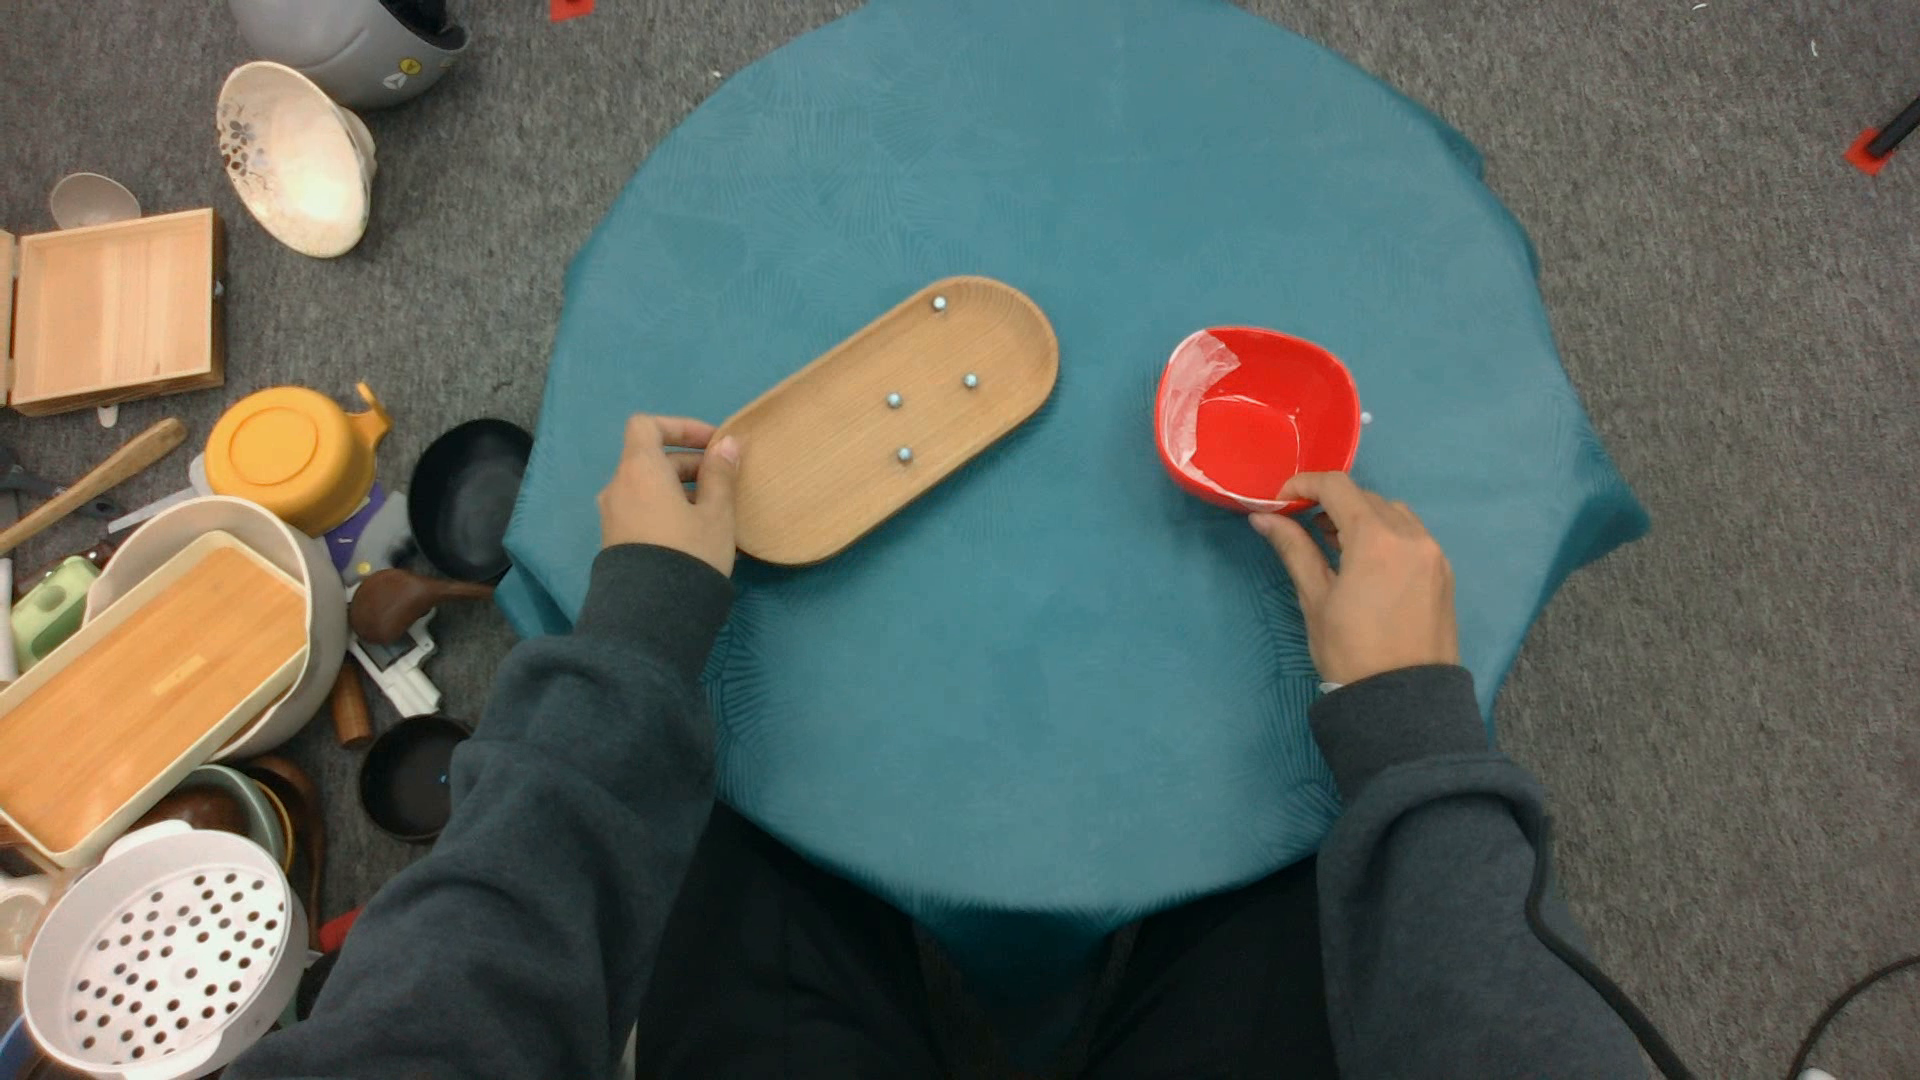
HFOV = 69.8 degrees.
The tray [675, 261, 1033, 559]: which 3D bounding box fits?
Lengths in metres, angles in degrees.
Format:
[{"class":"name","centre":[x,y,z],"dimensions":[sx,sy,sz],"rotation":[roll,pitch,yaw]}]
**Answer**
[{"class":"tray","centre":[-0.057,-0.076,0.785],"dimensions":[0.232,0.020,0.102],"rotation":[-38,79,-16]}]

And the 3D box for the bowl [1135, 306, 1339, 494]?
[{"class":"bowl","centre":[0.148,-0.069,0.763],"dimensions":[0.119,0.051,0.119],"rotation":[2,64,-4]}]
